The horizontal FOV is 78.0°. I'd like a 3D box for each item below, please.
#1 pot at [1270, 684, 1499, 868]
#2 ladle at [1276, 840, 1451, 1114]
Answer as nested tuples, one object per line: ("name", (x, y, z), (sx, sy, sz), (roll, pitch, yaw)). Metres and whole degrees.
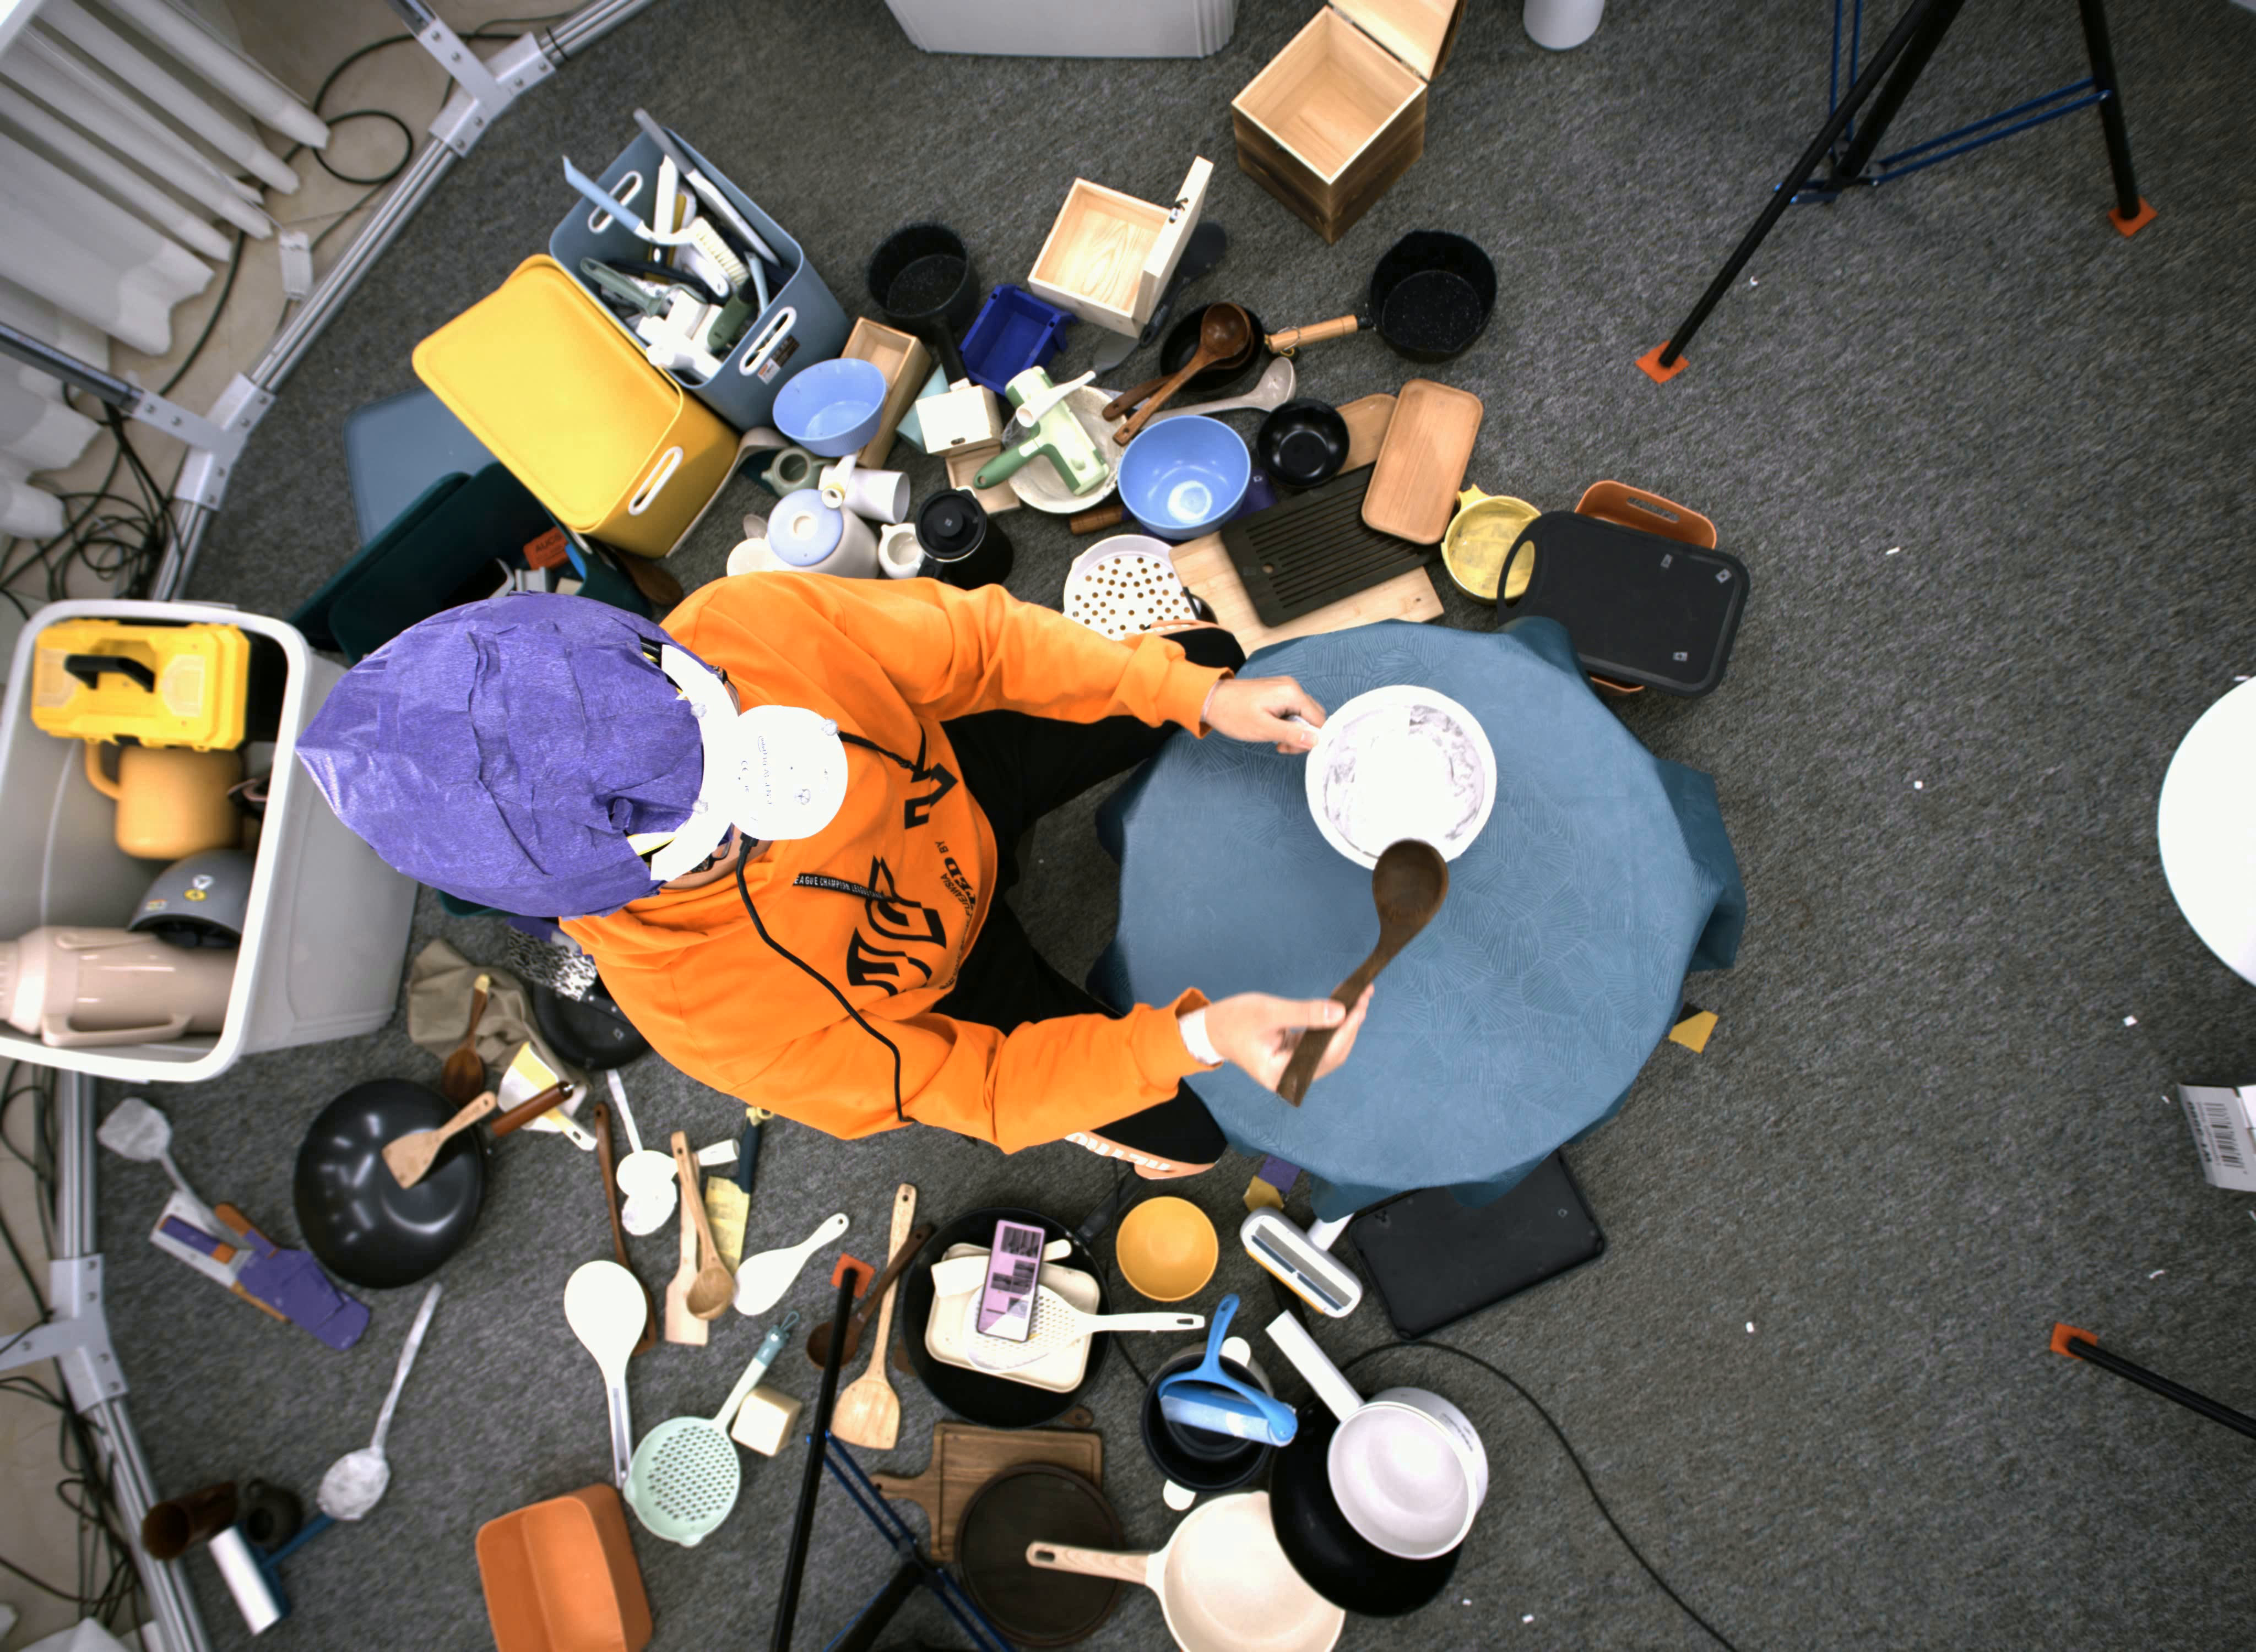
("pot", (0.245, -0.057, 1.355), (0.233, 0.136, 0.179), (25, 96, 12))
("ladle", (0.188, 0.117, 1.151), (0.268, 0.076, 0.072), (-47, 120, -32))
